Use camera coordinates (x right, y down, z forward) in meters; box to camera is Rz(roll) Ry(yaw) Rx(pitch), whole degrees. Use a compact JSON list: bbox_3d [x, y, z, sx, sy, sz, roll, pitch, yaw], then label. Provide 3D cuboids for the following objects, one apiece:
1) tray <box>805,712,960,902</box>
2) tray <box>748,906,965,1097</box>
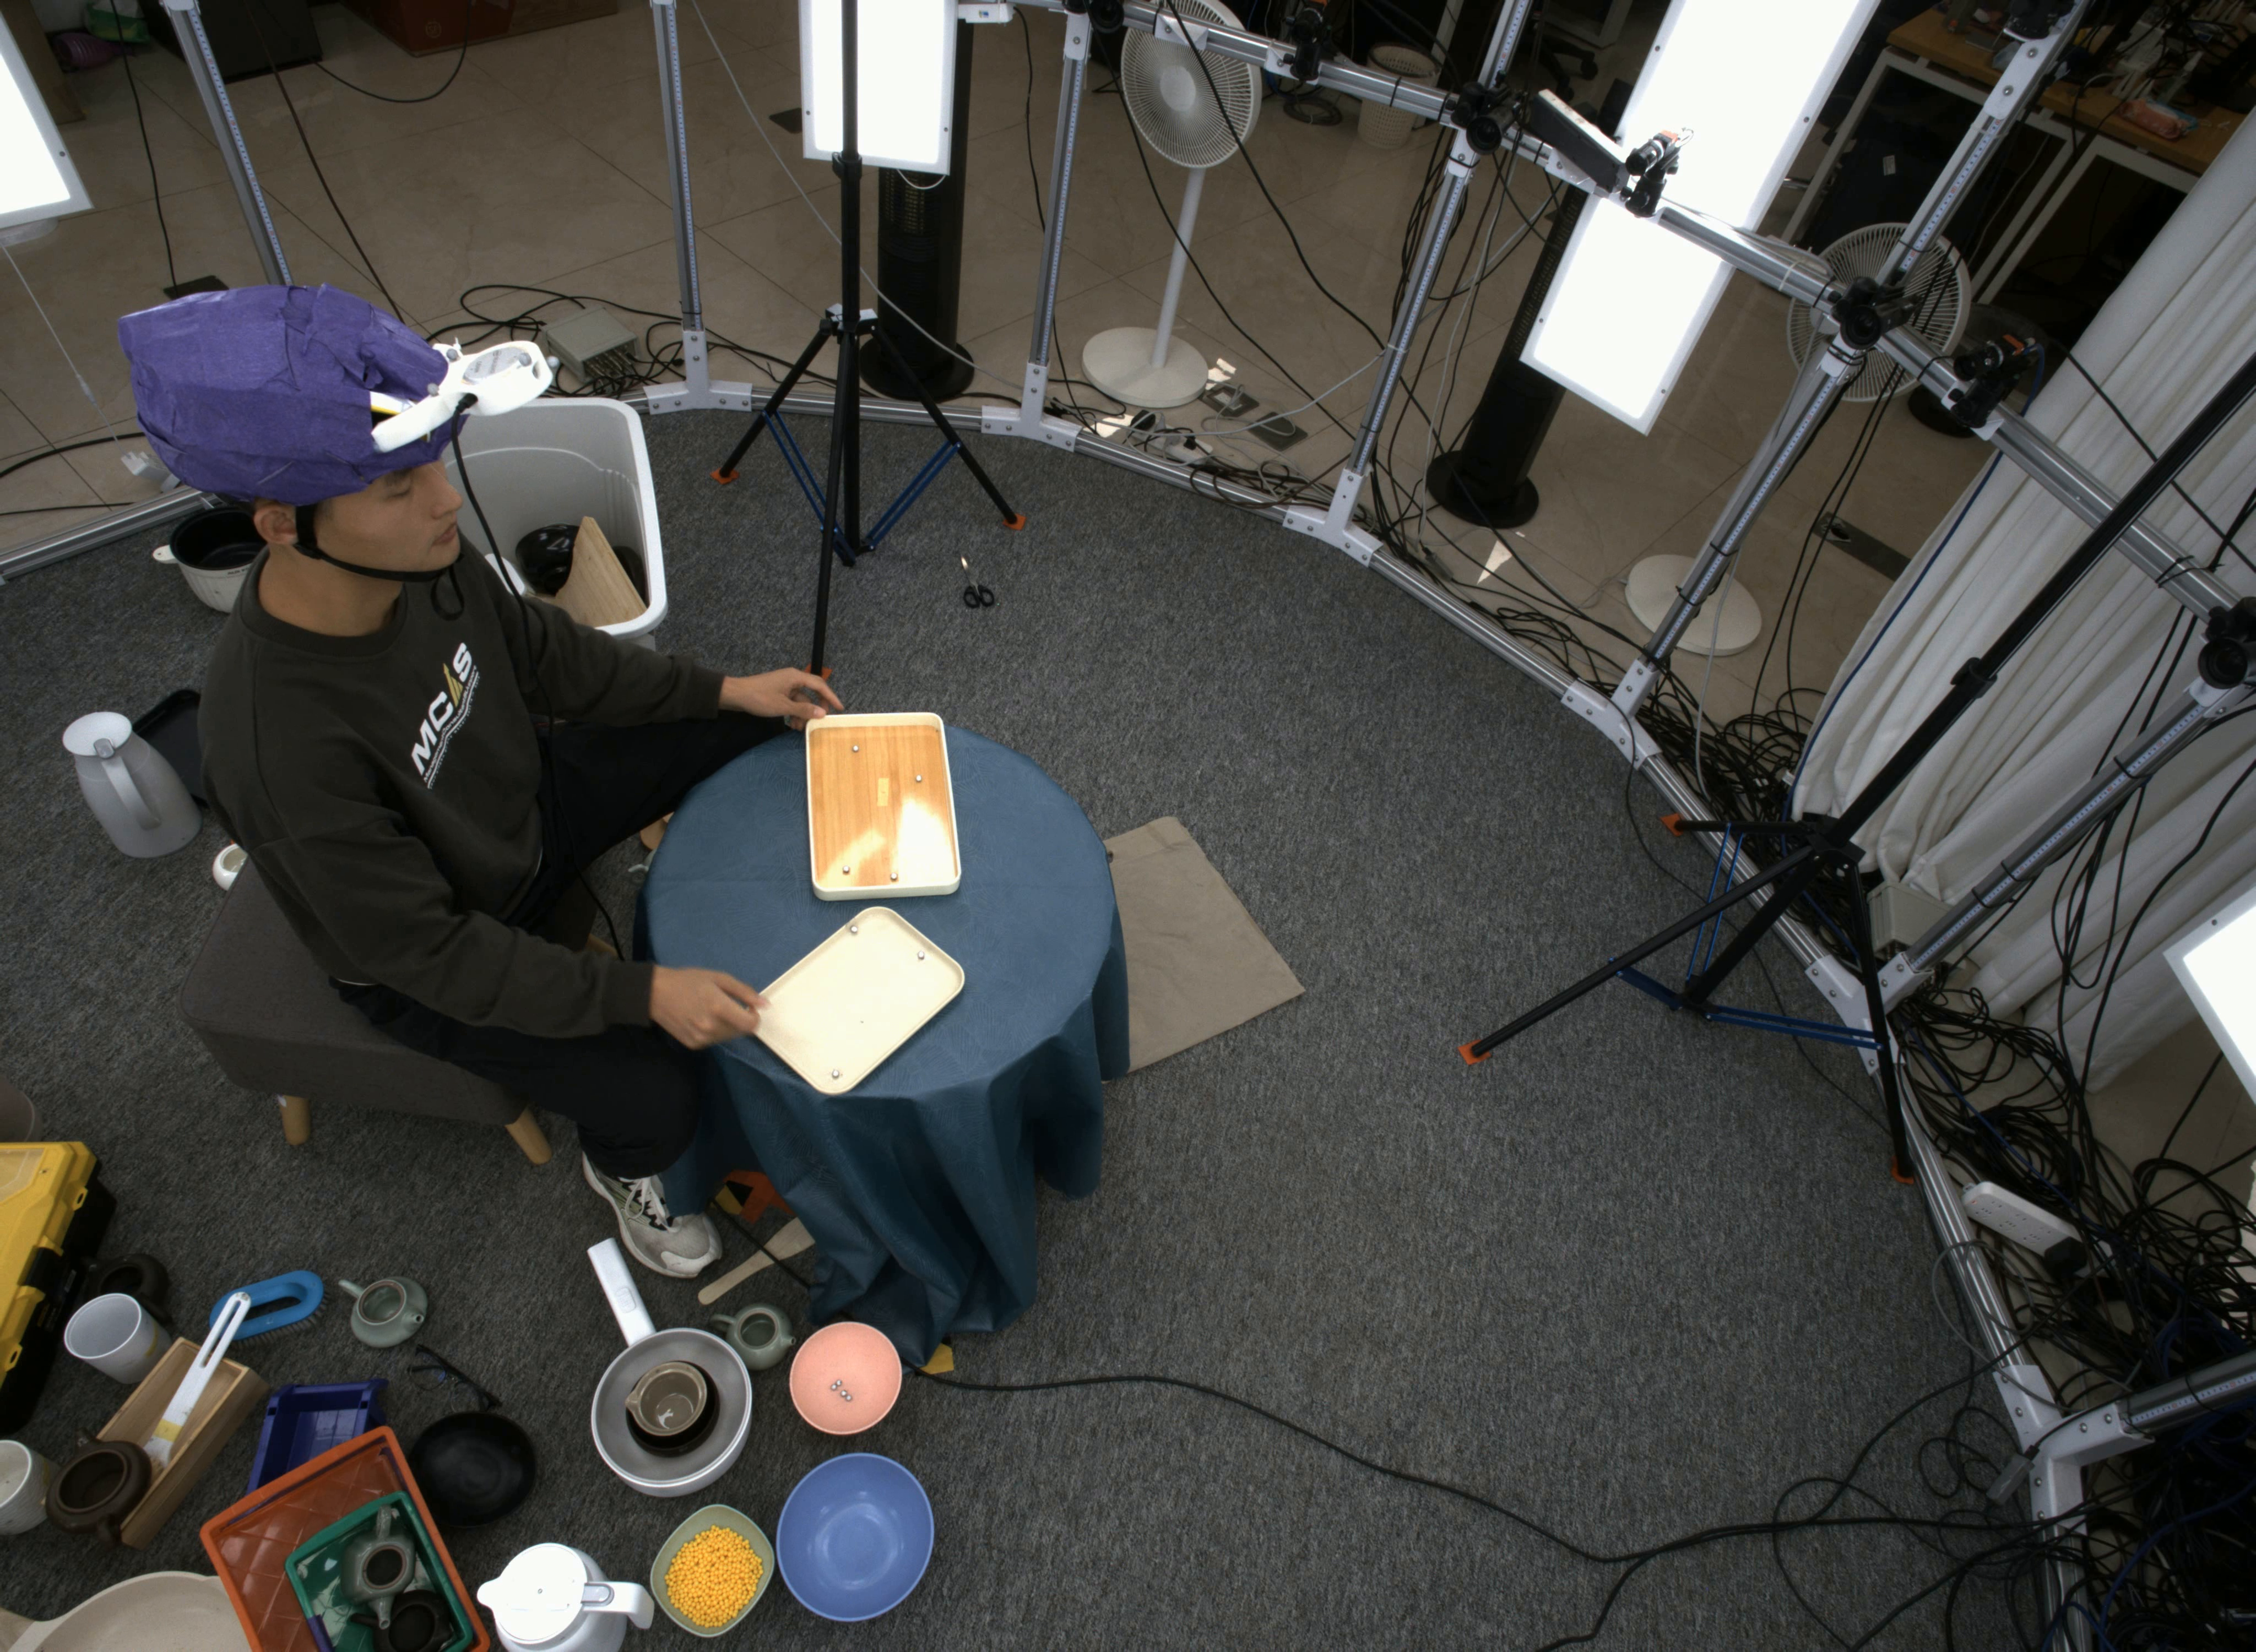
[{"bbox_3d":[-0.336,-0.033,1.764,0.192,0.028,0.293,-3,54,-15],"label":"tray"},{"bbox_3d":[-0.329,0.209,1.590,0.168,0.018,0.240,37,55,14],"label":"tray"}]
